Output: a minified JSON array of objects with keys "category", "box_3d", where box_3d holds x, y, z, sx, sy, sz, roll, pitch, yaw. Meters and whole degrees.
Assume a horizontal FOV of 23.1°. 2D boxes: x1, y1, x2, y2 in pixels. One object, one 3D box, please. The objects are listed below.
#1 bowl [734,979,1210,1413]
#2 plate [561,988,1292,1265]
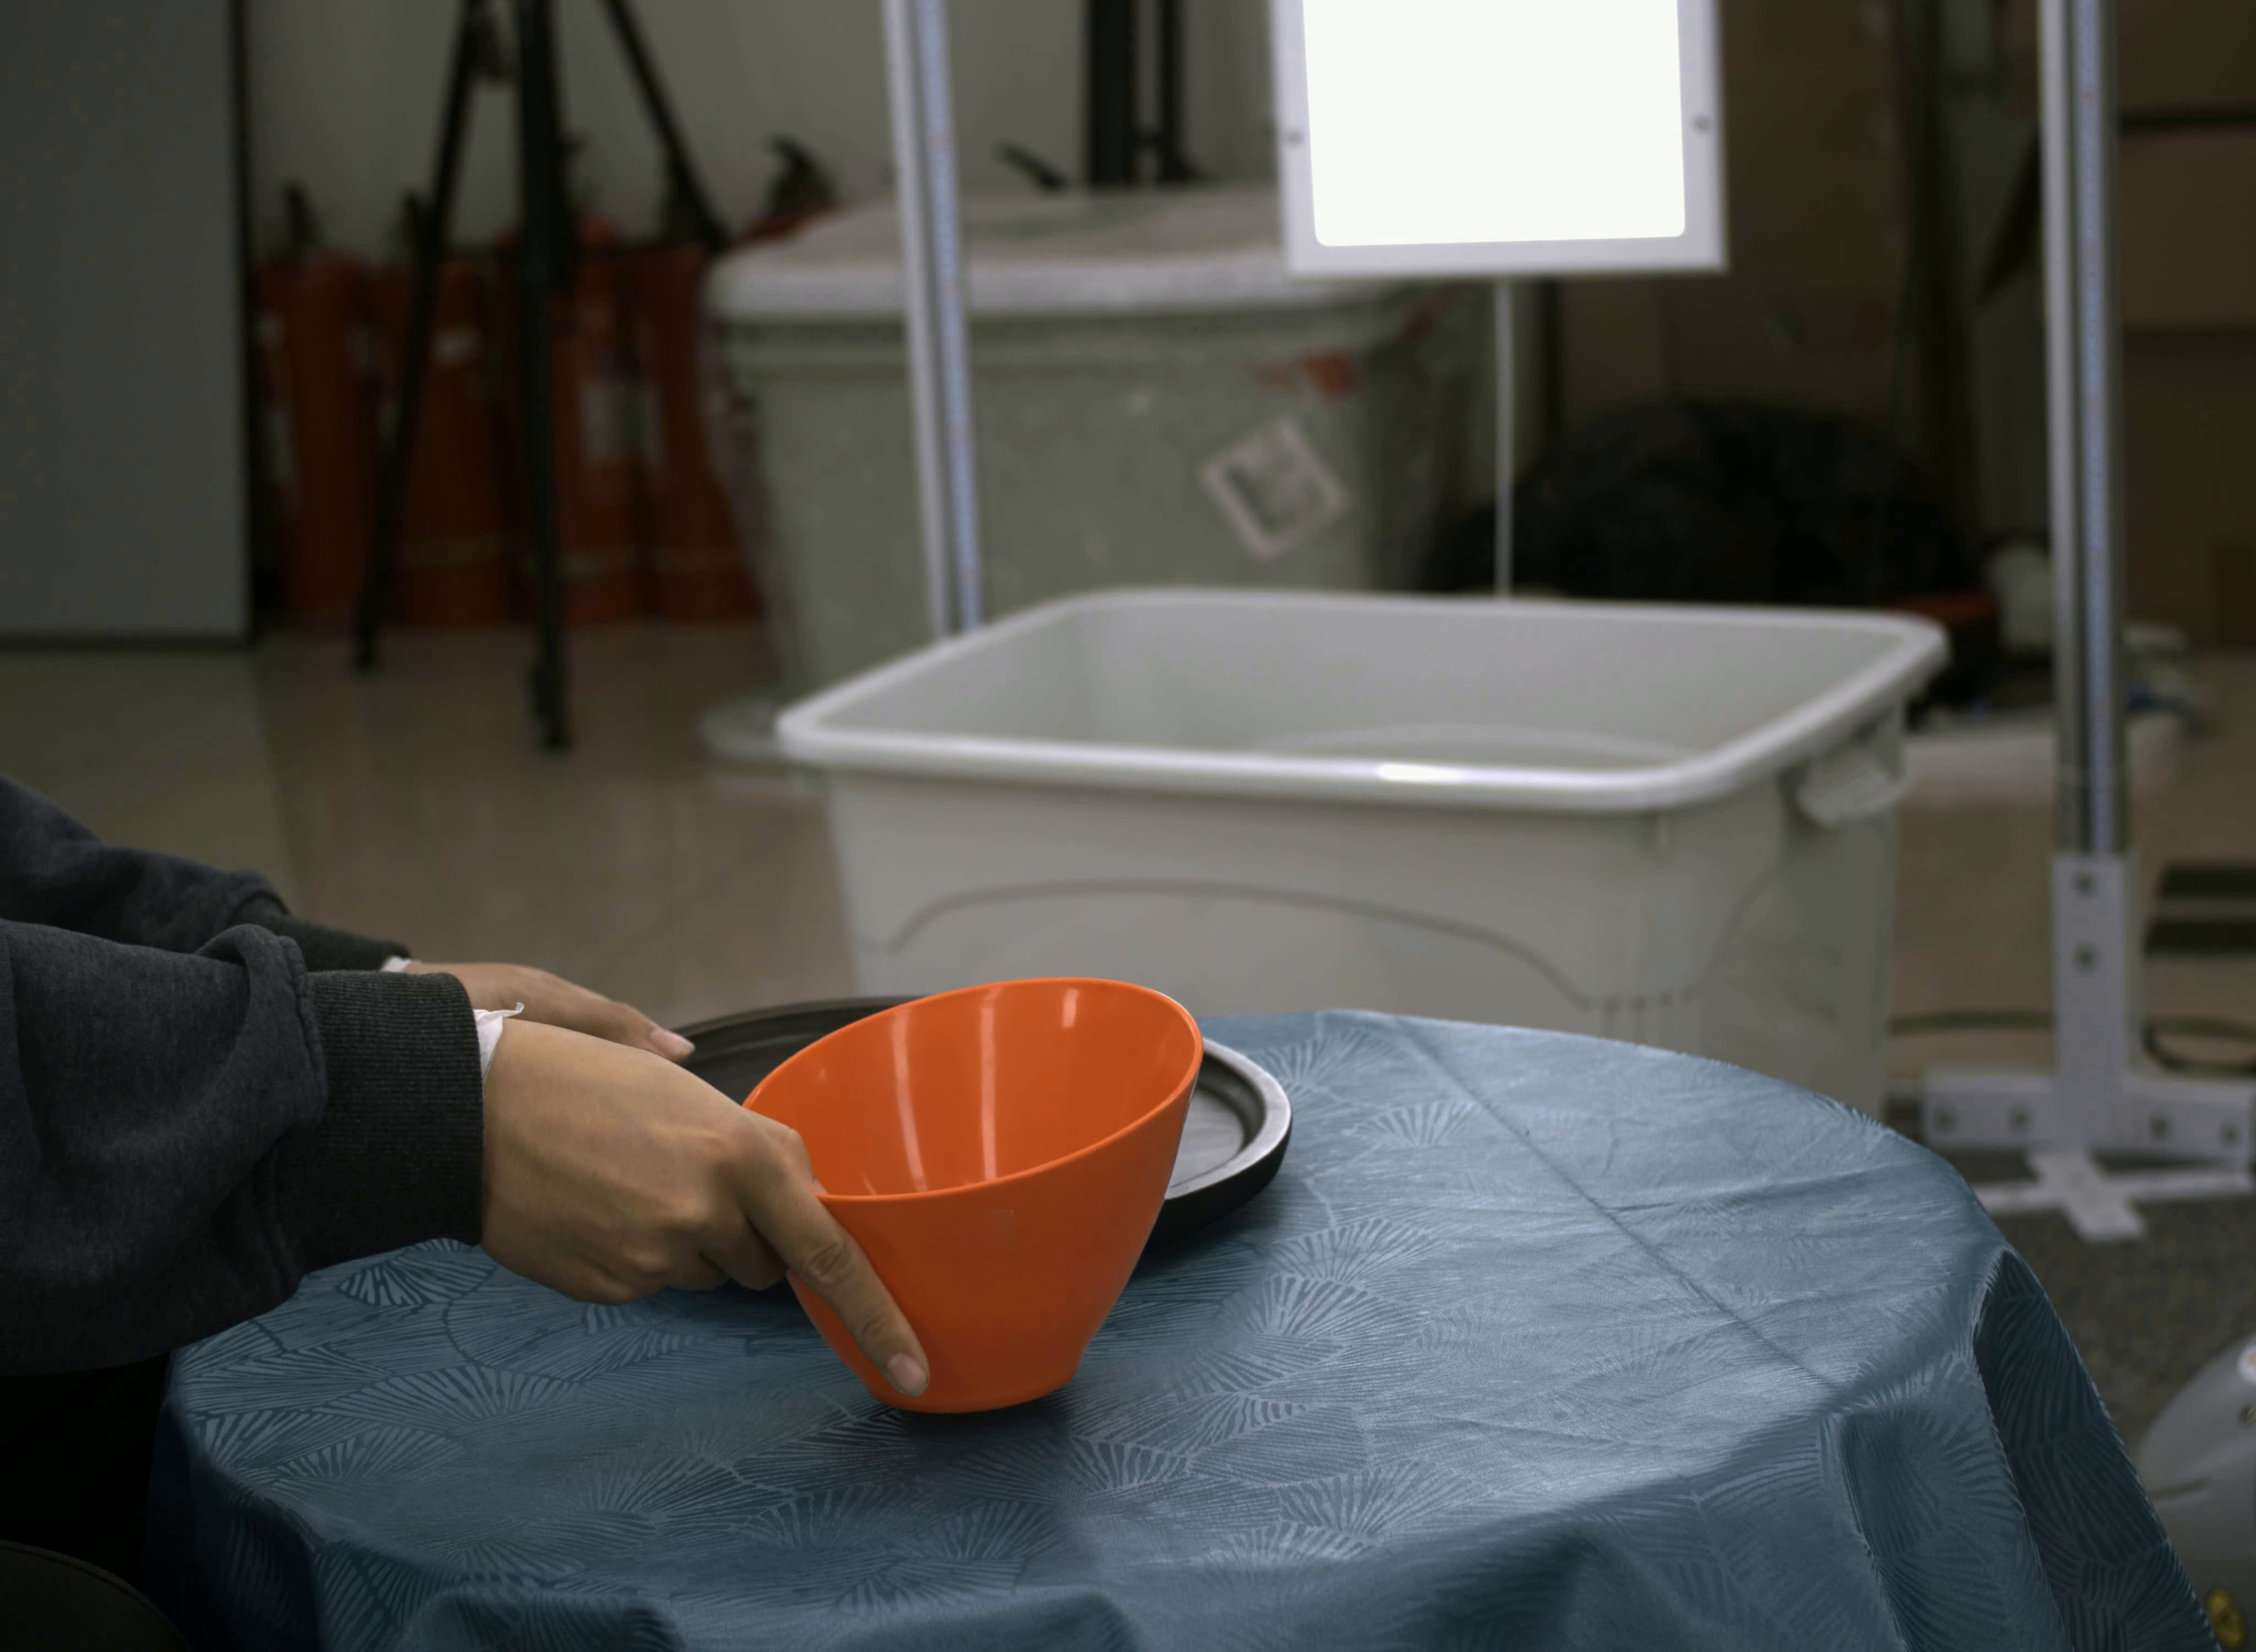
[{"category":"bowl","box_3d":[-0.045,0.118,1.698,0.147,0.105,0.148,-4,16,0]},{"category":"plate","box_3d":[-0.069,0.105,1.902,0.254,0.029,0.254,0,17,-1]}]
